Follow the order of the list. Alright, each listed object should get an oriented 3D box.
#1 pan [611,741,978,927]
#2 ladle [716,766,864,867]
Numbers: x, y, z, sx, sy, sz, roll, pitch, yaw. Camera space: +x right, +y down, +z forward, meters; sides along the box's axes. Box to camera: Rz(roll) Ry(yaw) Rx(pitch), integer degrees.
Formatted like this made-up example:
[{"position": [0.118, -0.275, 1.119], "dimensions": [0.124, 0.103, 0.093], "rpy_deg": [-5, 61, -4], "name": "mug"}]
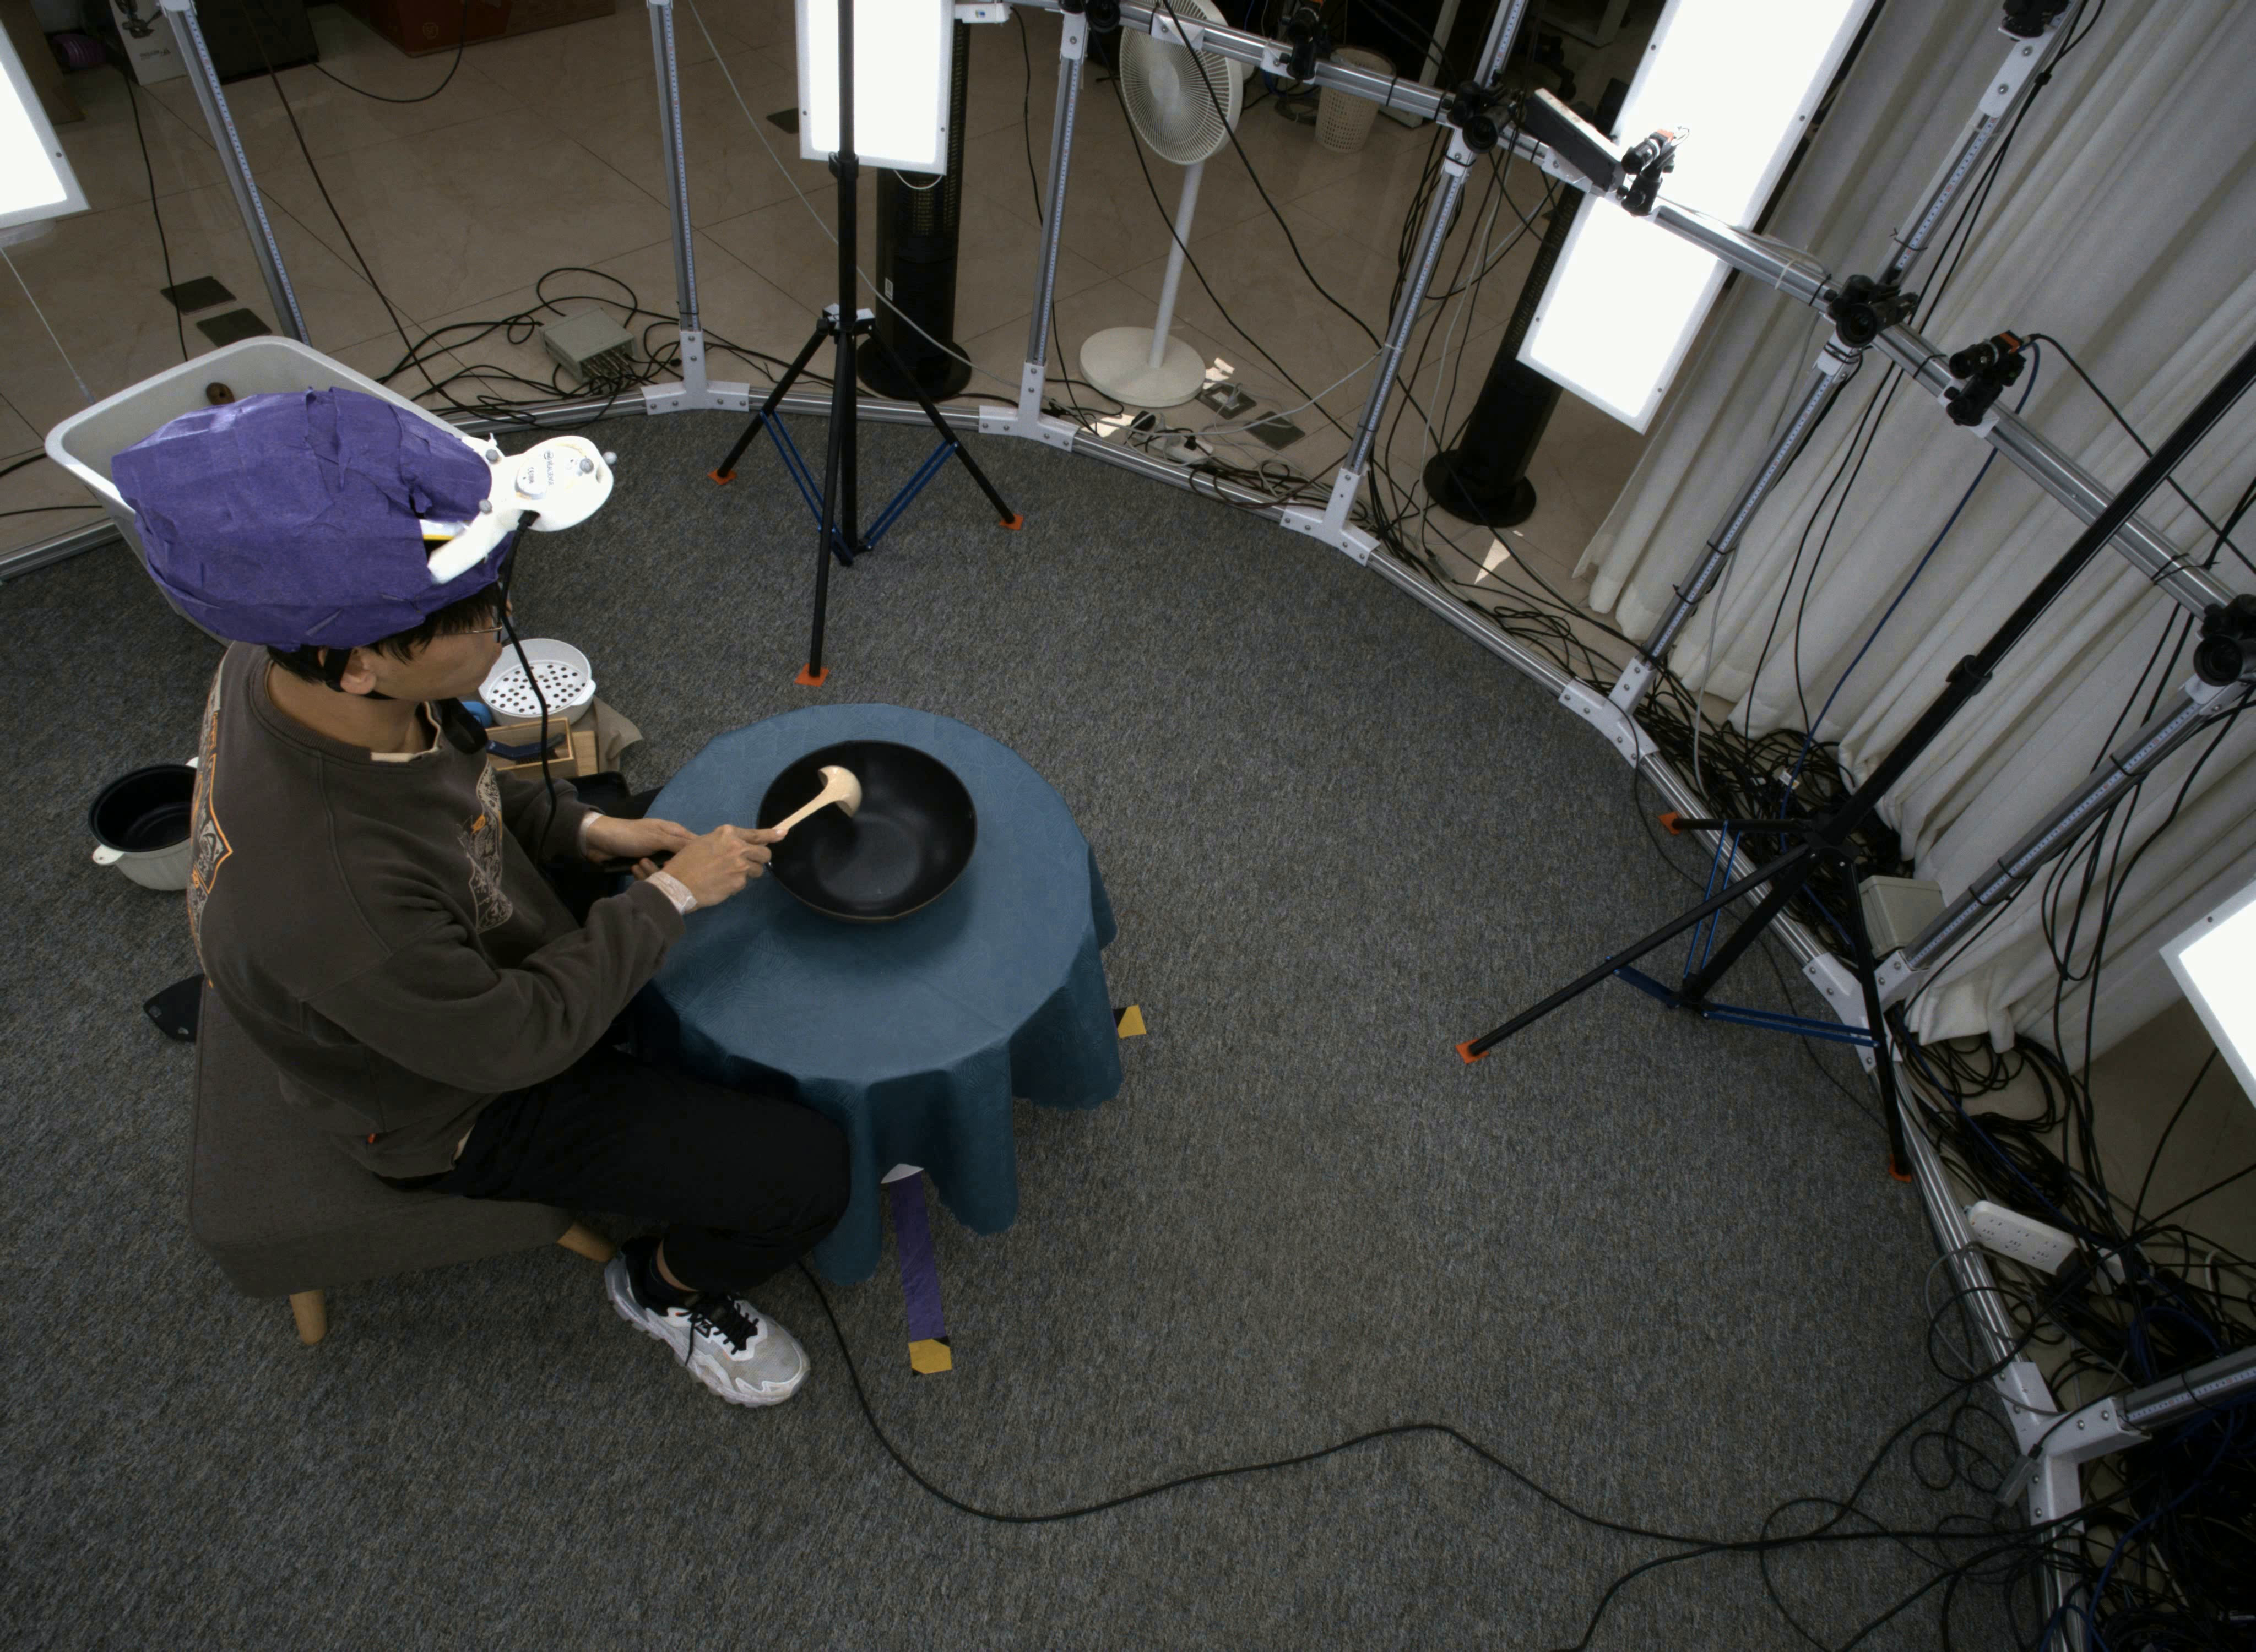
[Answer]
[{"position": [-0.420, 0.037, 1.661], "dimensions": [0.464, 0.089, 0.281], "rpy_deg": [-10, 57, -17], "name": "pan"}, {"position": [-0.437, -0.001, 1.643], "dimensions": [0.255, 0.071, 0.073], "rpy_deg": [-38, 99, -45], "name": "ladle"}]
